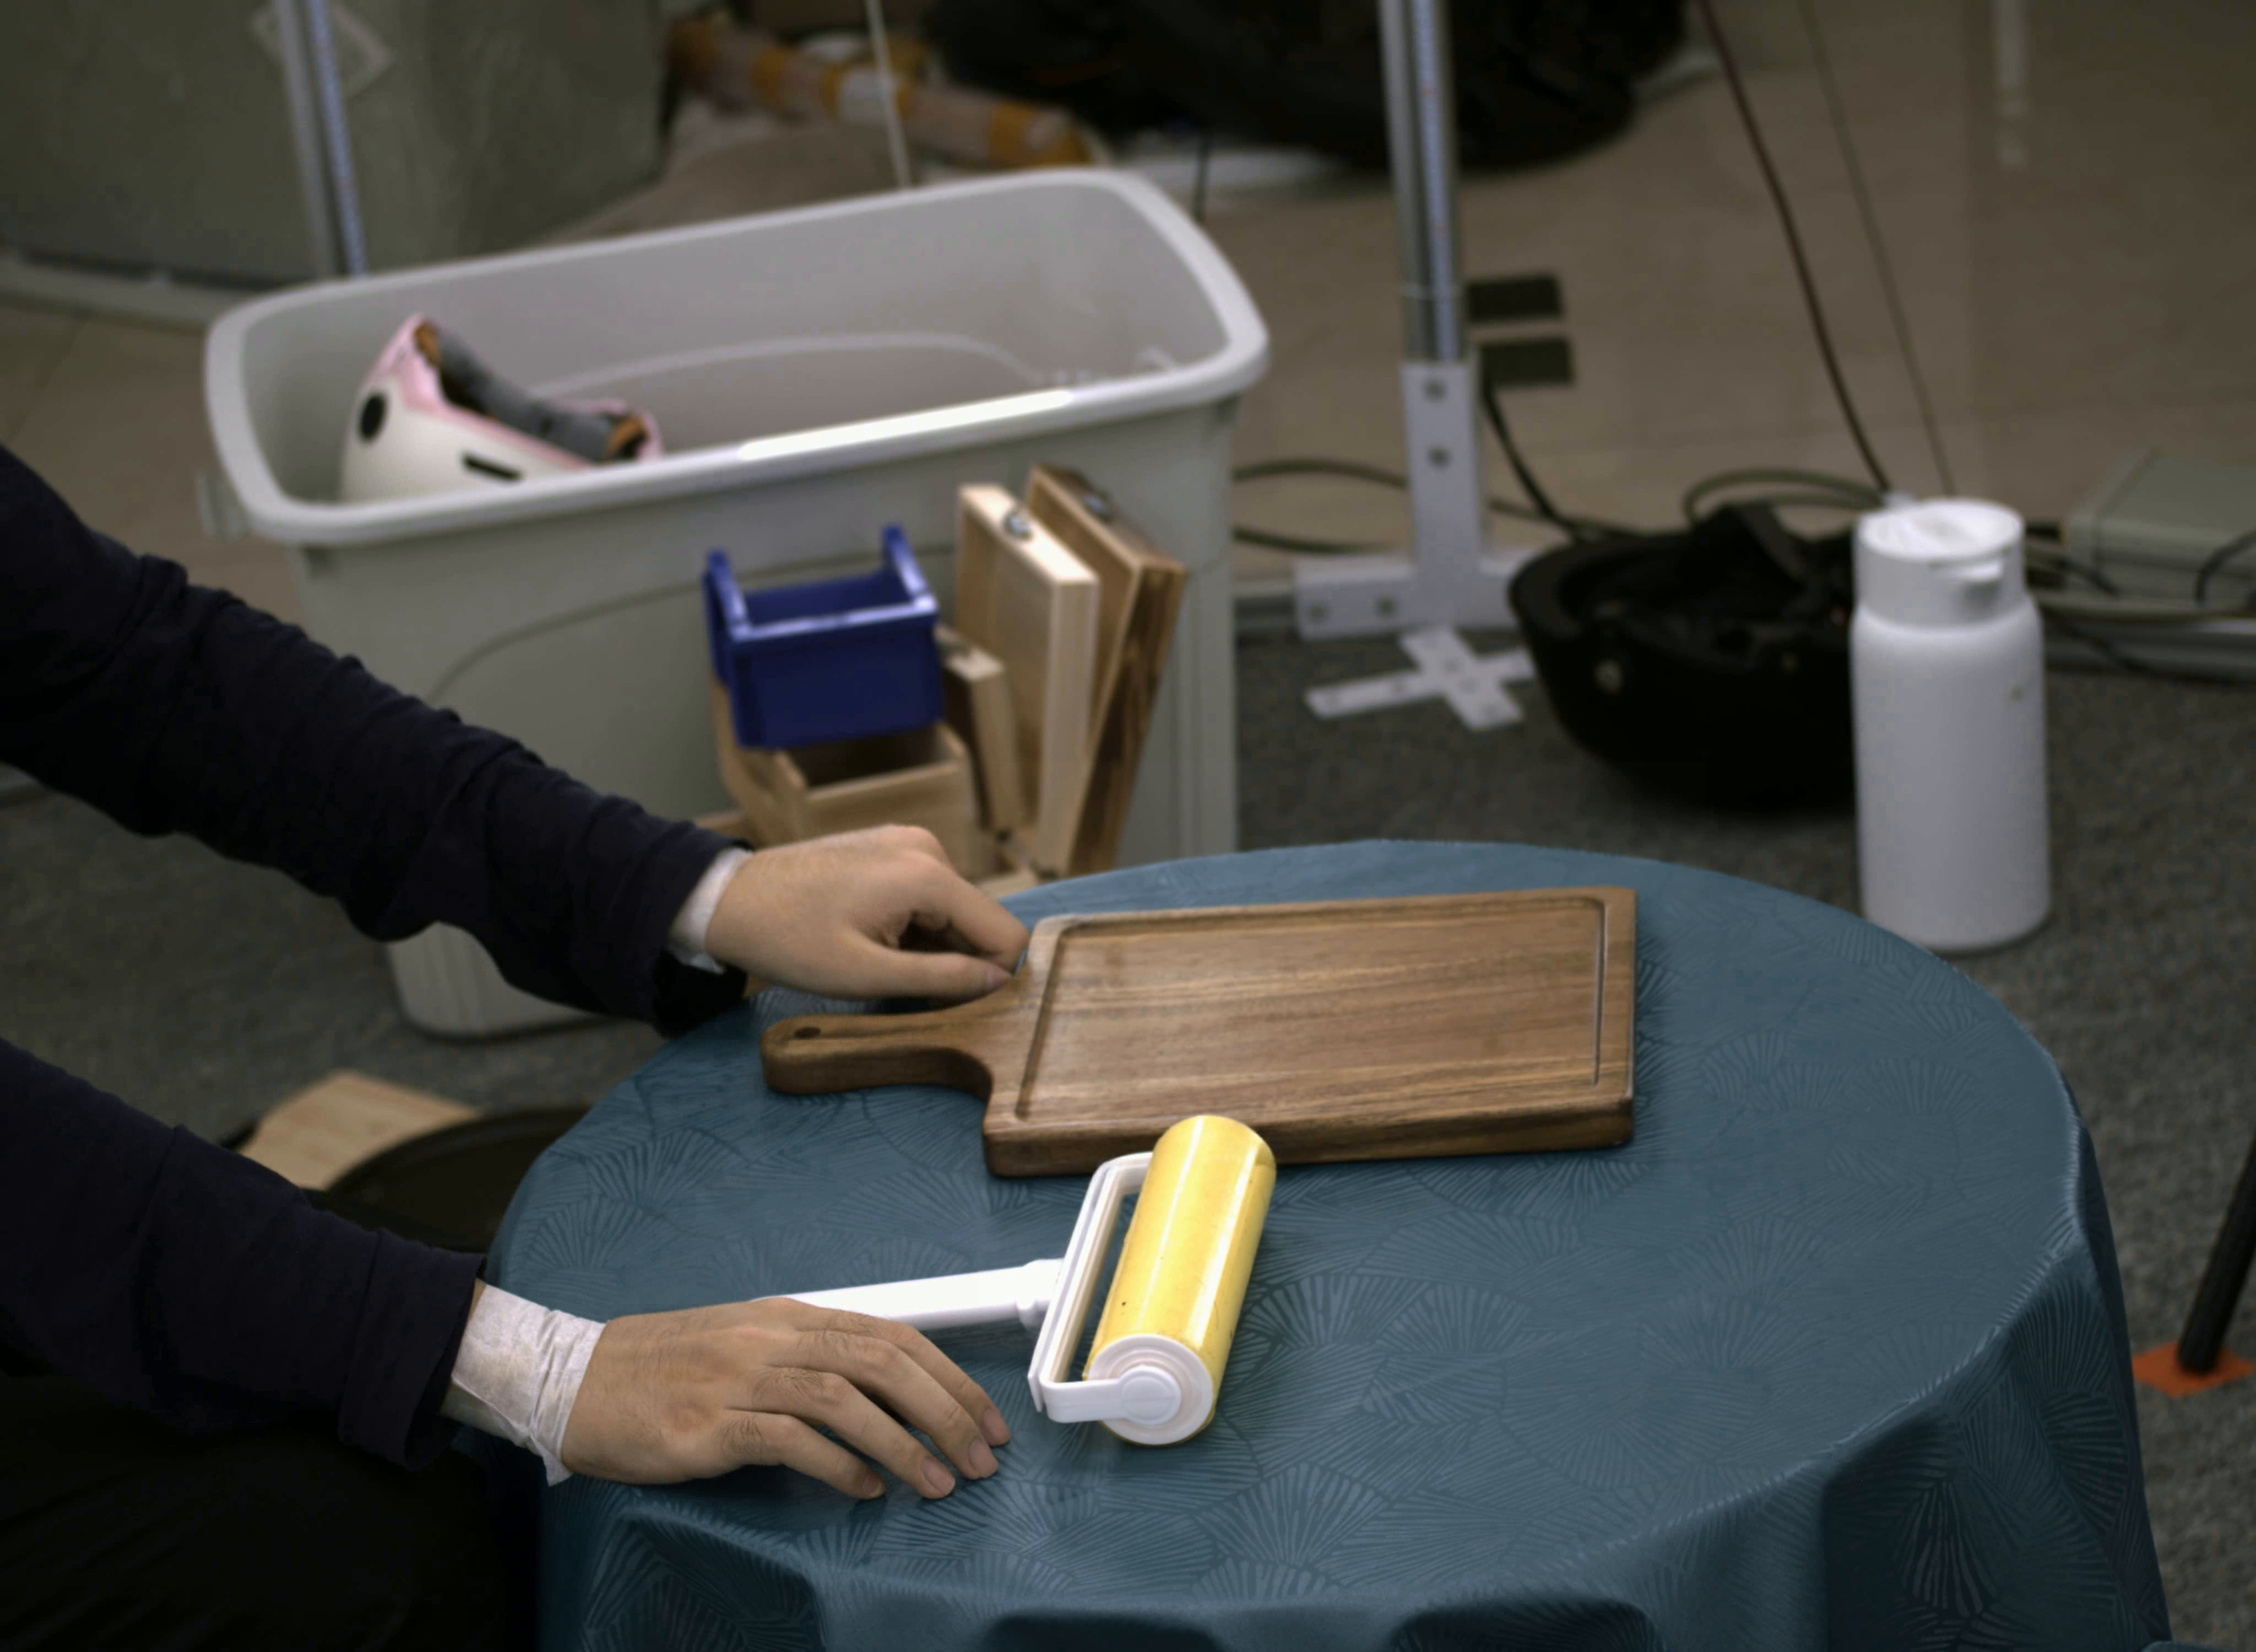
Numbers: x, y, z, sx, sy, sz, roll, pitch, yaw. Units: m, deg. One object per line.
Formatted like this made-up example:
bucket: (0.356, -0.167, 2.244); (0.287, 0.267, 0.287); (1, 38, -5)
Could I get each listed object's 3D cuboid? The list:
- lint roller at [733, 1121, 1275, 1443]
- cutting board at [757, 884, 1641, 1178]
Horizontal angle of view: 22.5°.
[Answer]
lint roller: (-0.050, 0.164, 2.050); (0.191, 0.052, 0.172); (0, 25, 8)
cutting board: (0.027, 0.082, 2.243); (0.351, 0.023, 0.198); (-4, 25, 7)
